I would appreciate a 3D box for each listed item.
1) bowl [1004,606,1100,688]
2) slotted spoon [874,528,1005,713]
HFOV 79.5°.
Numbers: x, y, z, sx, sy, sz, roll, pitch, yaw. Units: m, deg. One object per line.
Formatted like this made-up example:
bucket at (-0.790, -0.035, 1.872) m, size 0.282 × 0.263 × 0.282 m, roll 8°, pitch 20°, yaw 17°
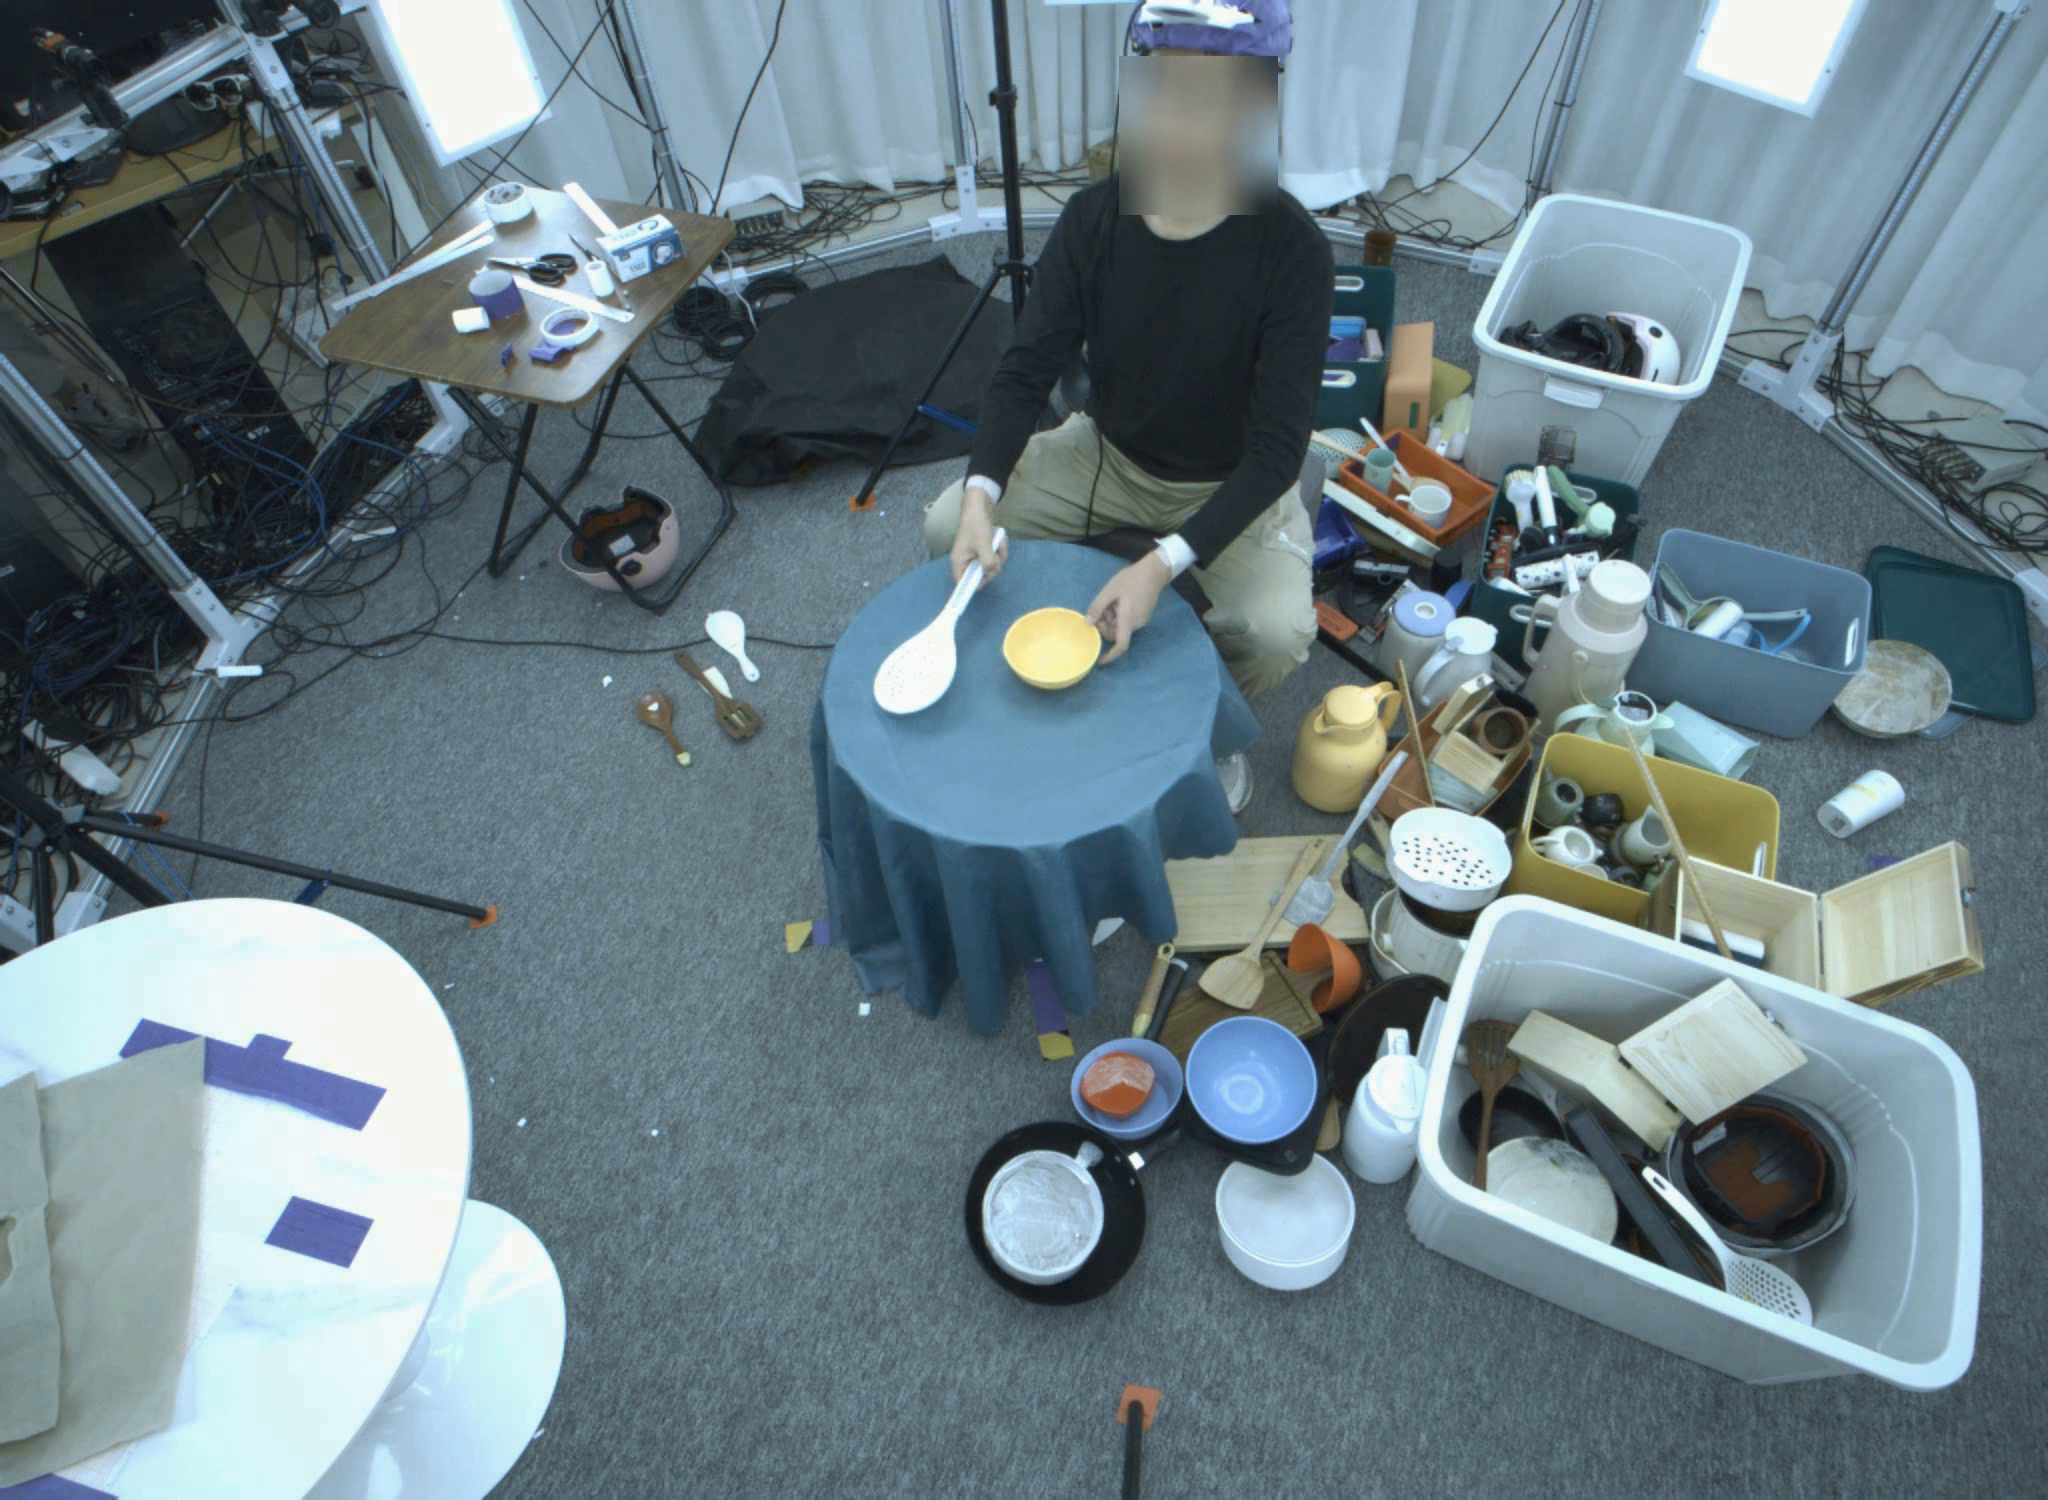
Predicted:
bowl at (0.043, -0.143, 1.853) m, size 0.145 × 0.061 × 0.144 m, roll -1°, pitch 57°, yaw 2°
slotted spoon at (-0.116, -0.200, 1.863) m, size 0.133 × 0.047 × 0.349 m, roll 12°, pitch 70°, yaw 35°
